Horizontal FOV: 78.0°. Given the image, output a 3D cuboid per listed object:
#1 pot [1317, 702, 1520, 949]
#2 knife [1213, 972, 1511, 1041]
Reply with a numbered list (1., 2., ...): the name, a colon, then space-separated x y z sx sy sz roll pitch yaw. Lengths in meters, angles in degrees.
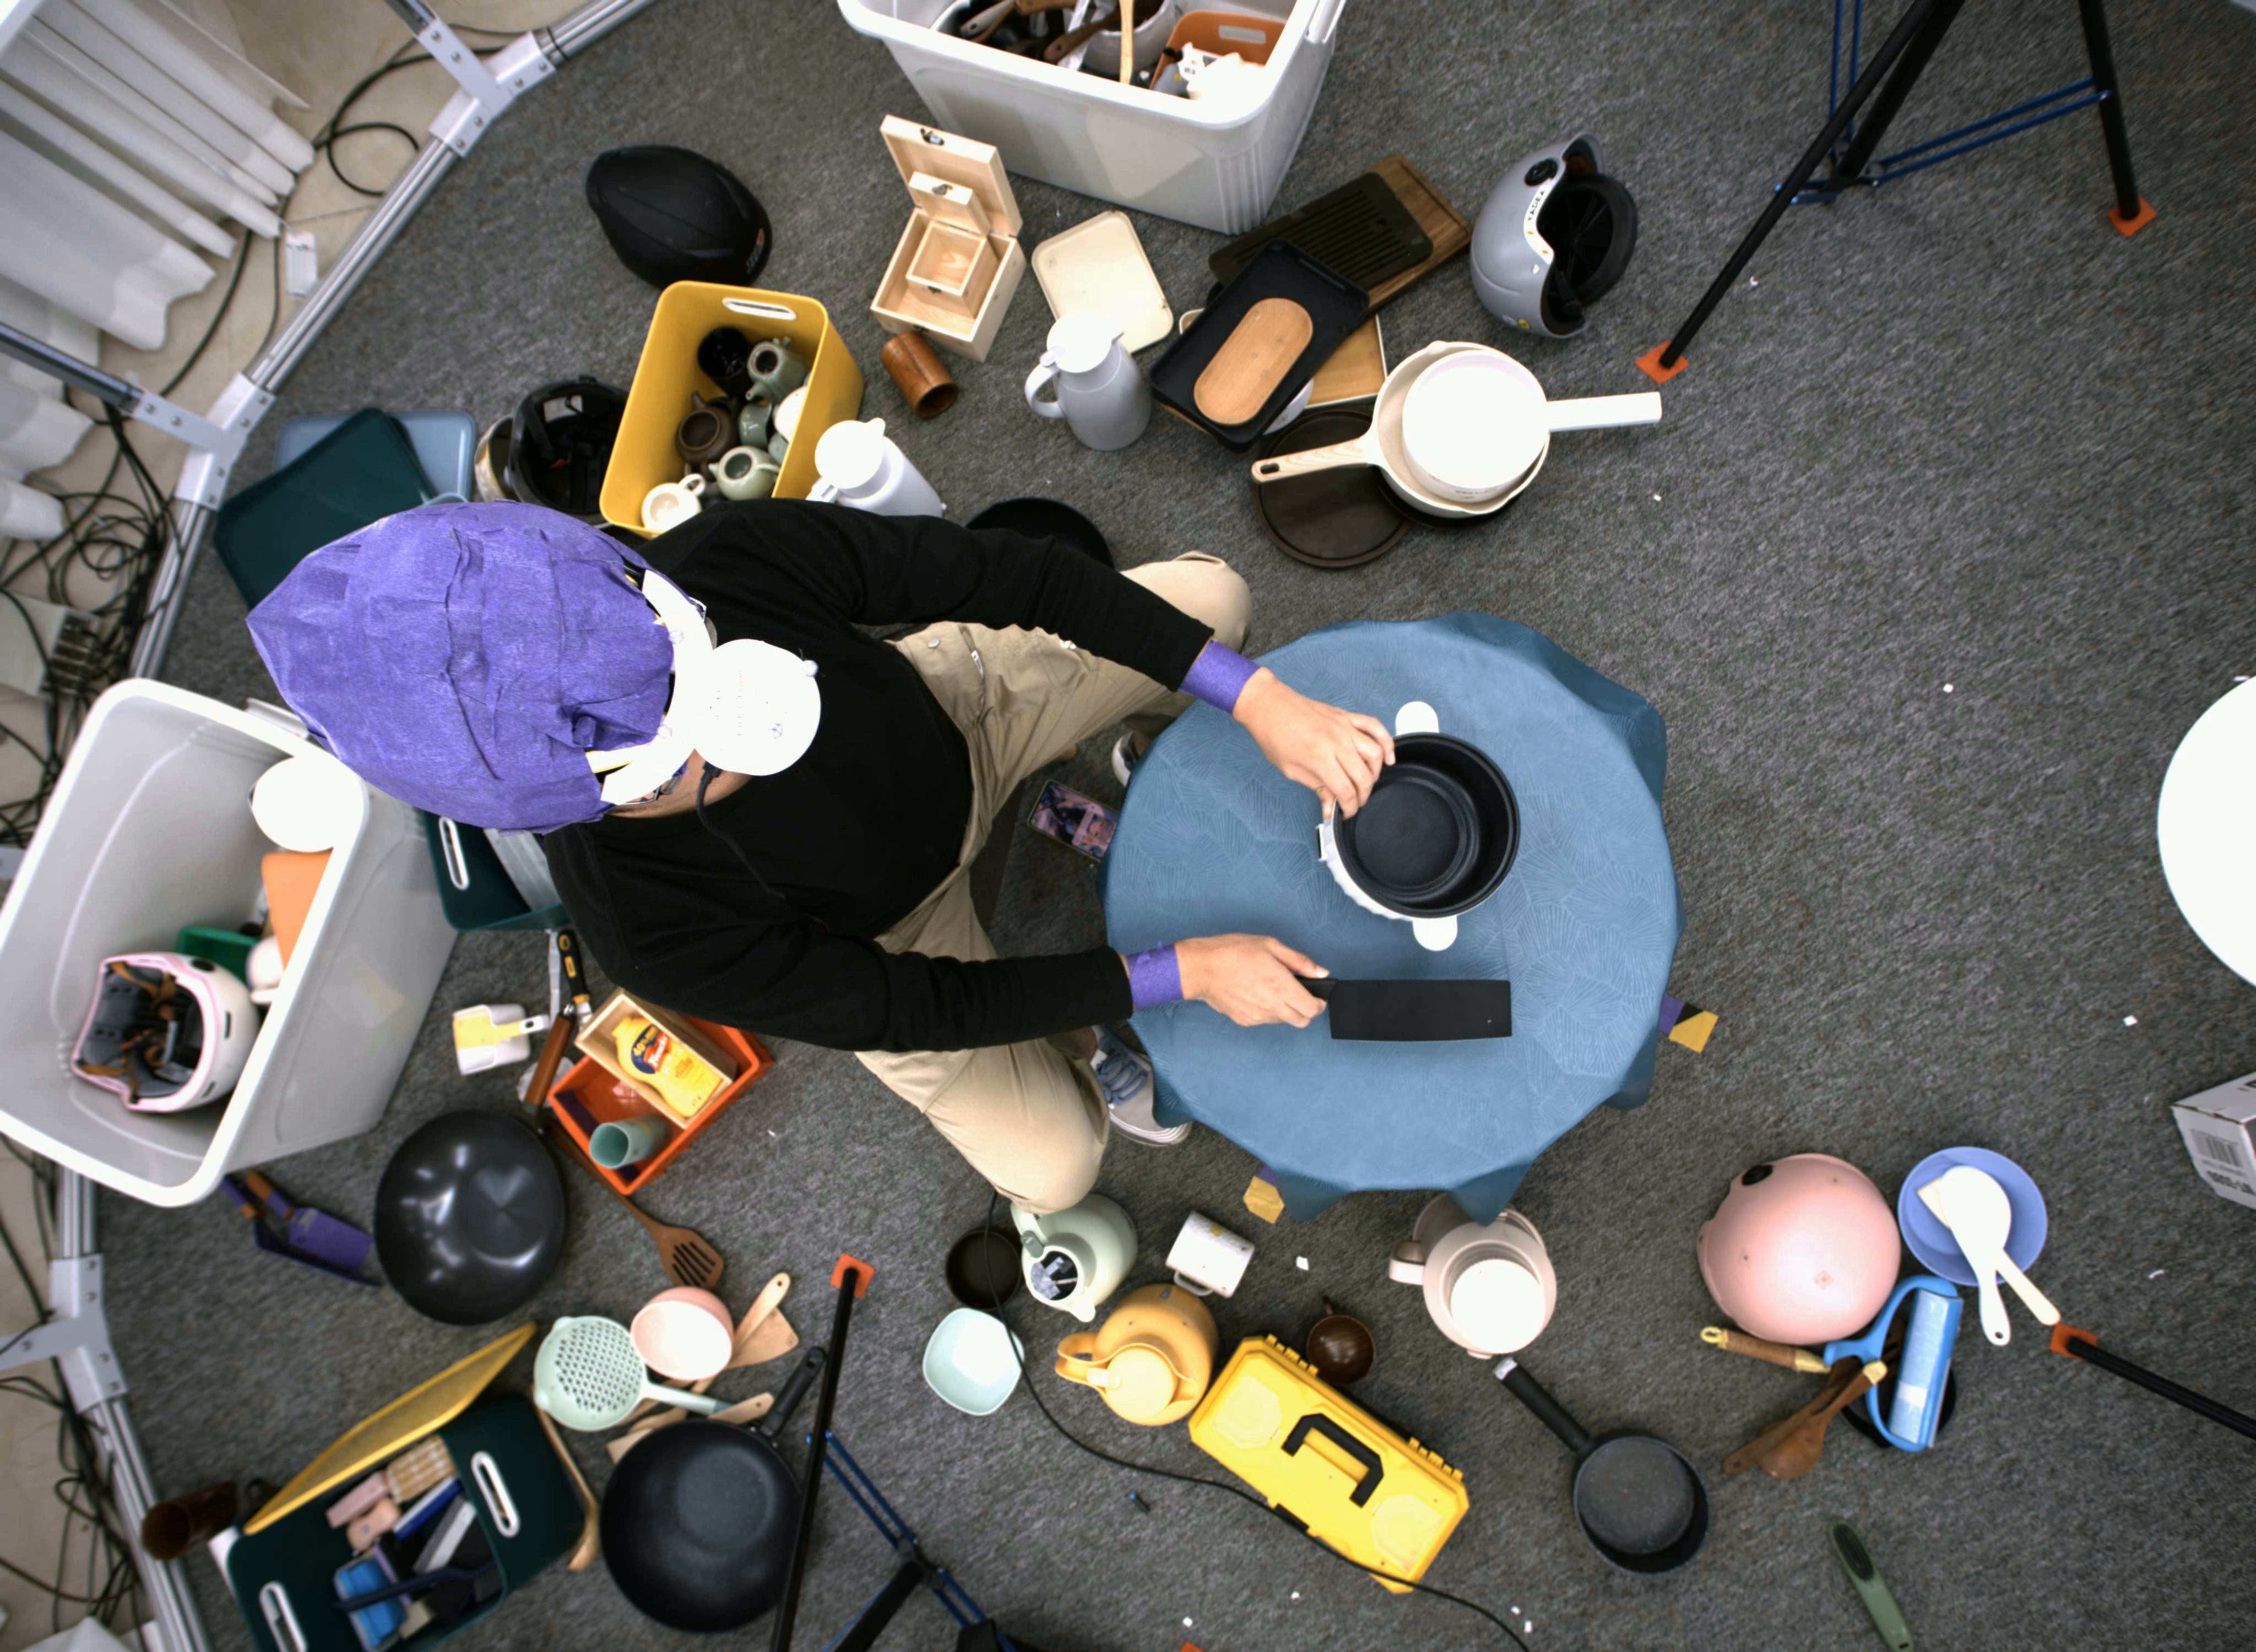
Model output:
1. pot: 0.291 0.002 1.384 0.191 0.143 0.239 -5 86 2
2. knife: 0.233 0.180 1.399 0.304 0.020 0.082 3 109 18
